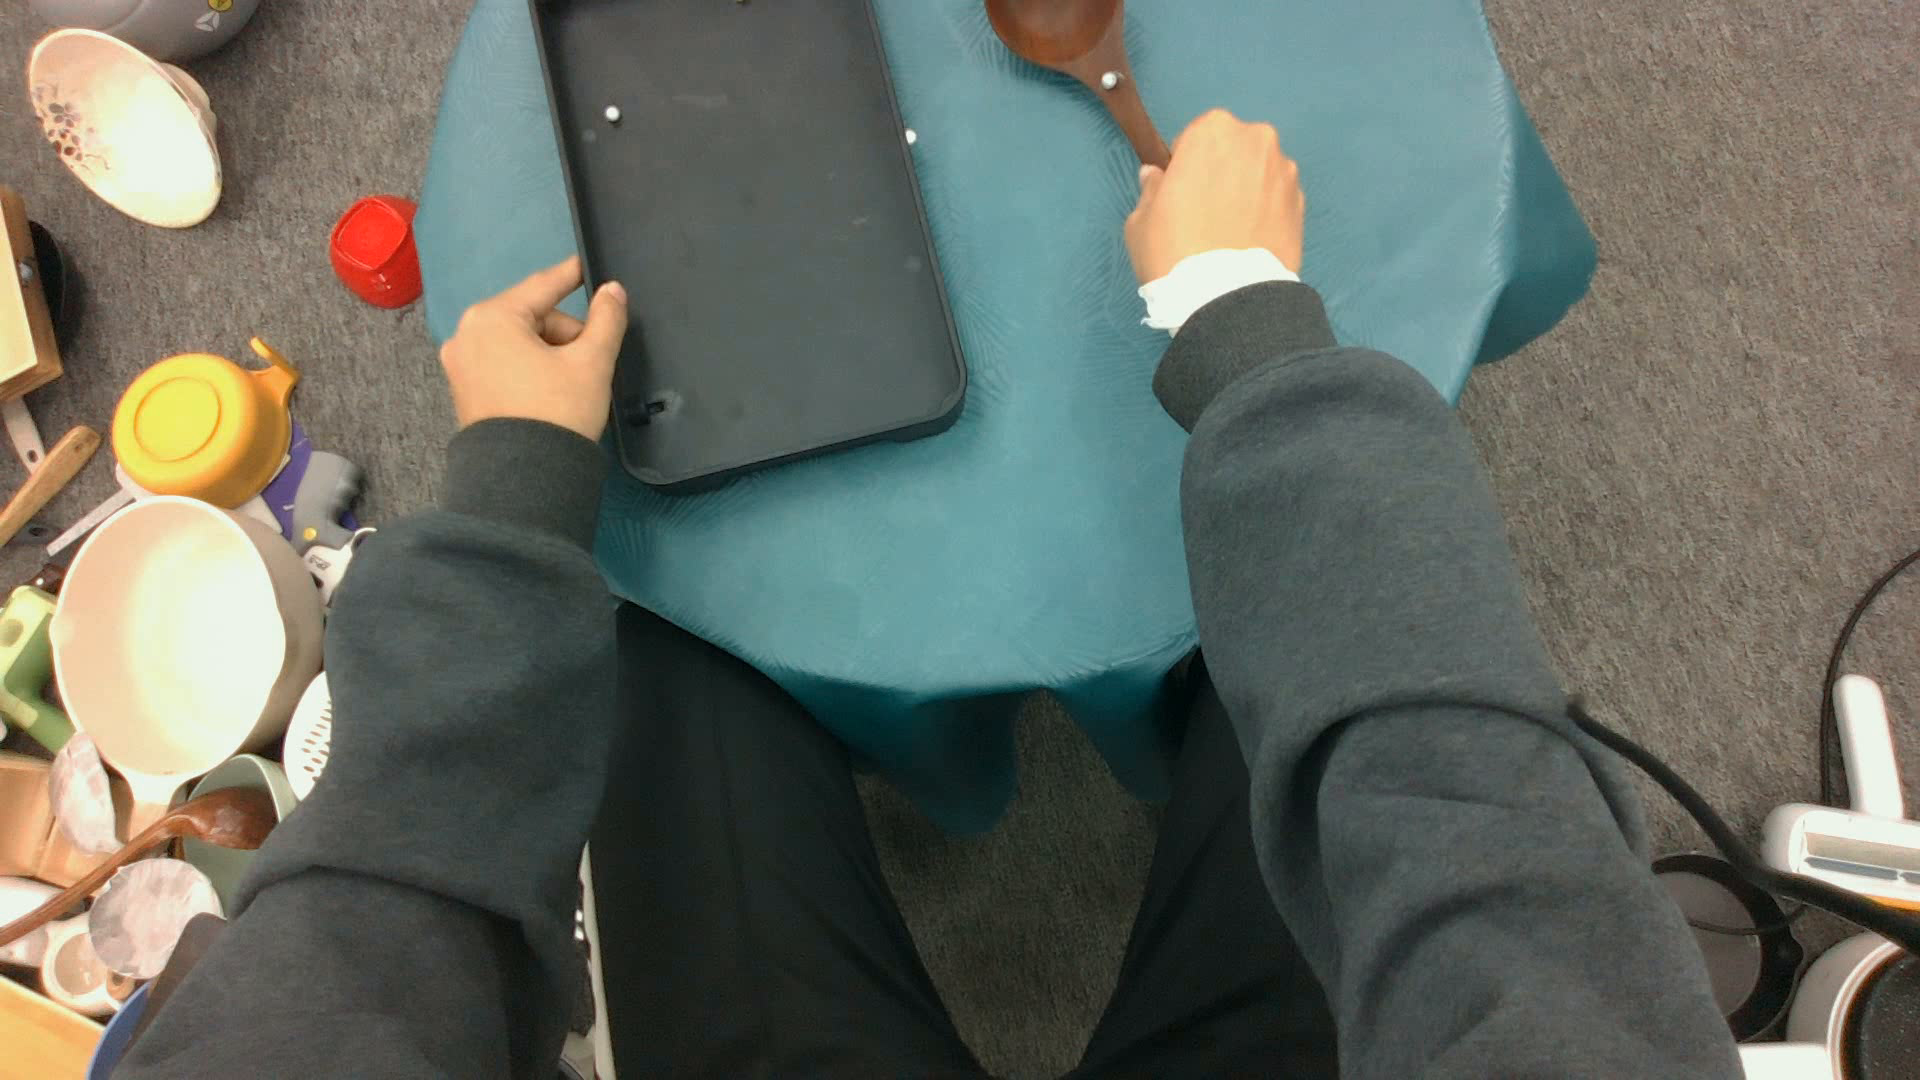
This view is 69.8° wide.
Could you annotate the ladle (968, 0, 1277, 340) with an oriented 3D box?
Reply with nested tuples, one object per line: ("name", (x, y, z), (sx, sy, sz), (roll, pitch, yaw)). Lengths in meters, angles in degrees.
("ladle", (0.085, -0.215, 0.714), (0.076, 0.065, 0.260), (-34, 72, 23))

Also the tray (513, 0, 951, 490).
("tray", (-0.125, -0.193, 0.740), (0.184, 0.037, 0.318), (-14, 75, -1))
